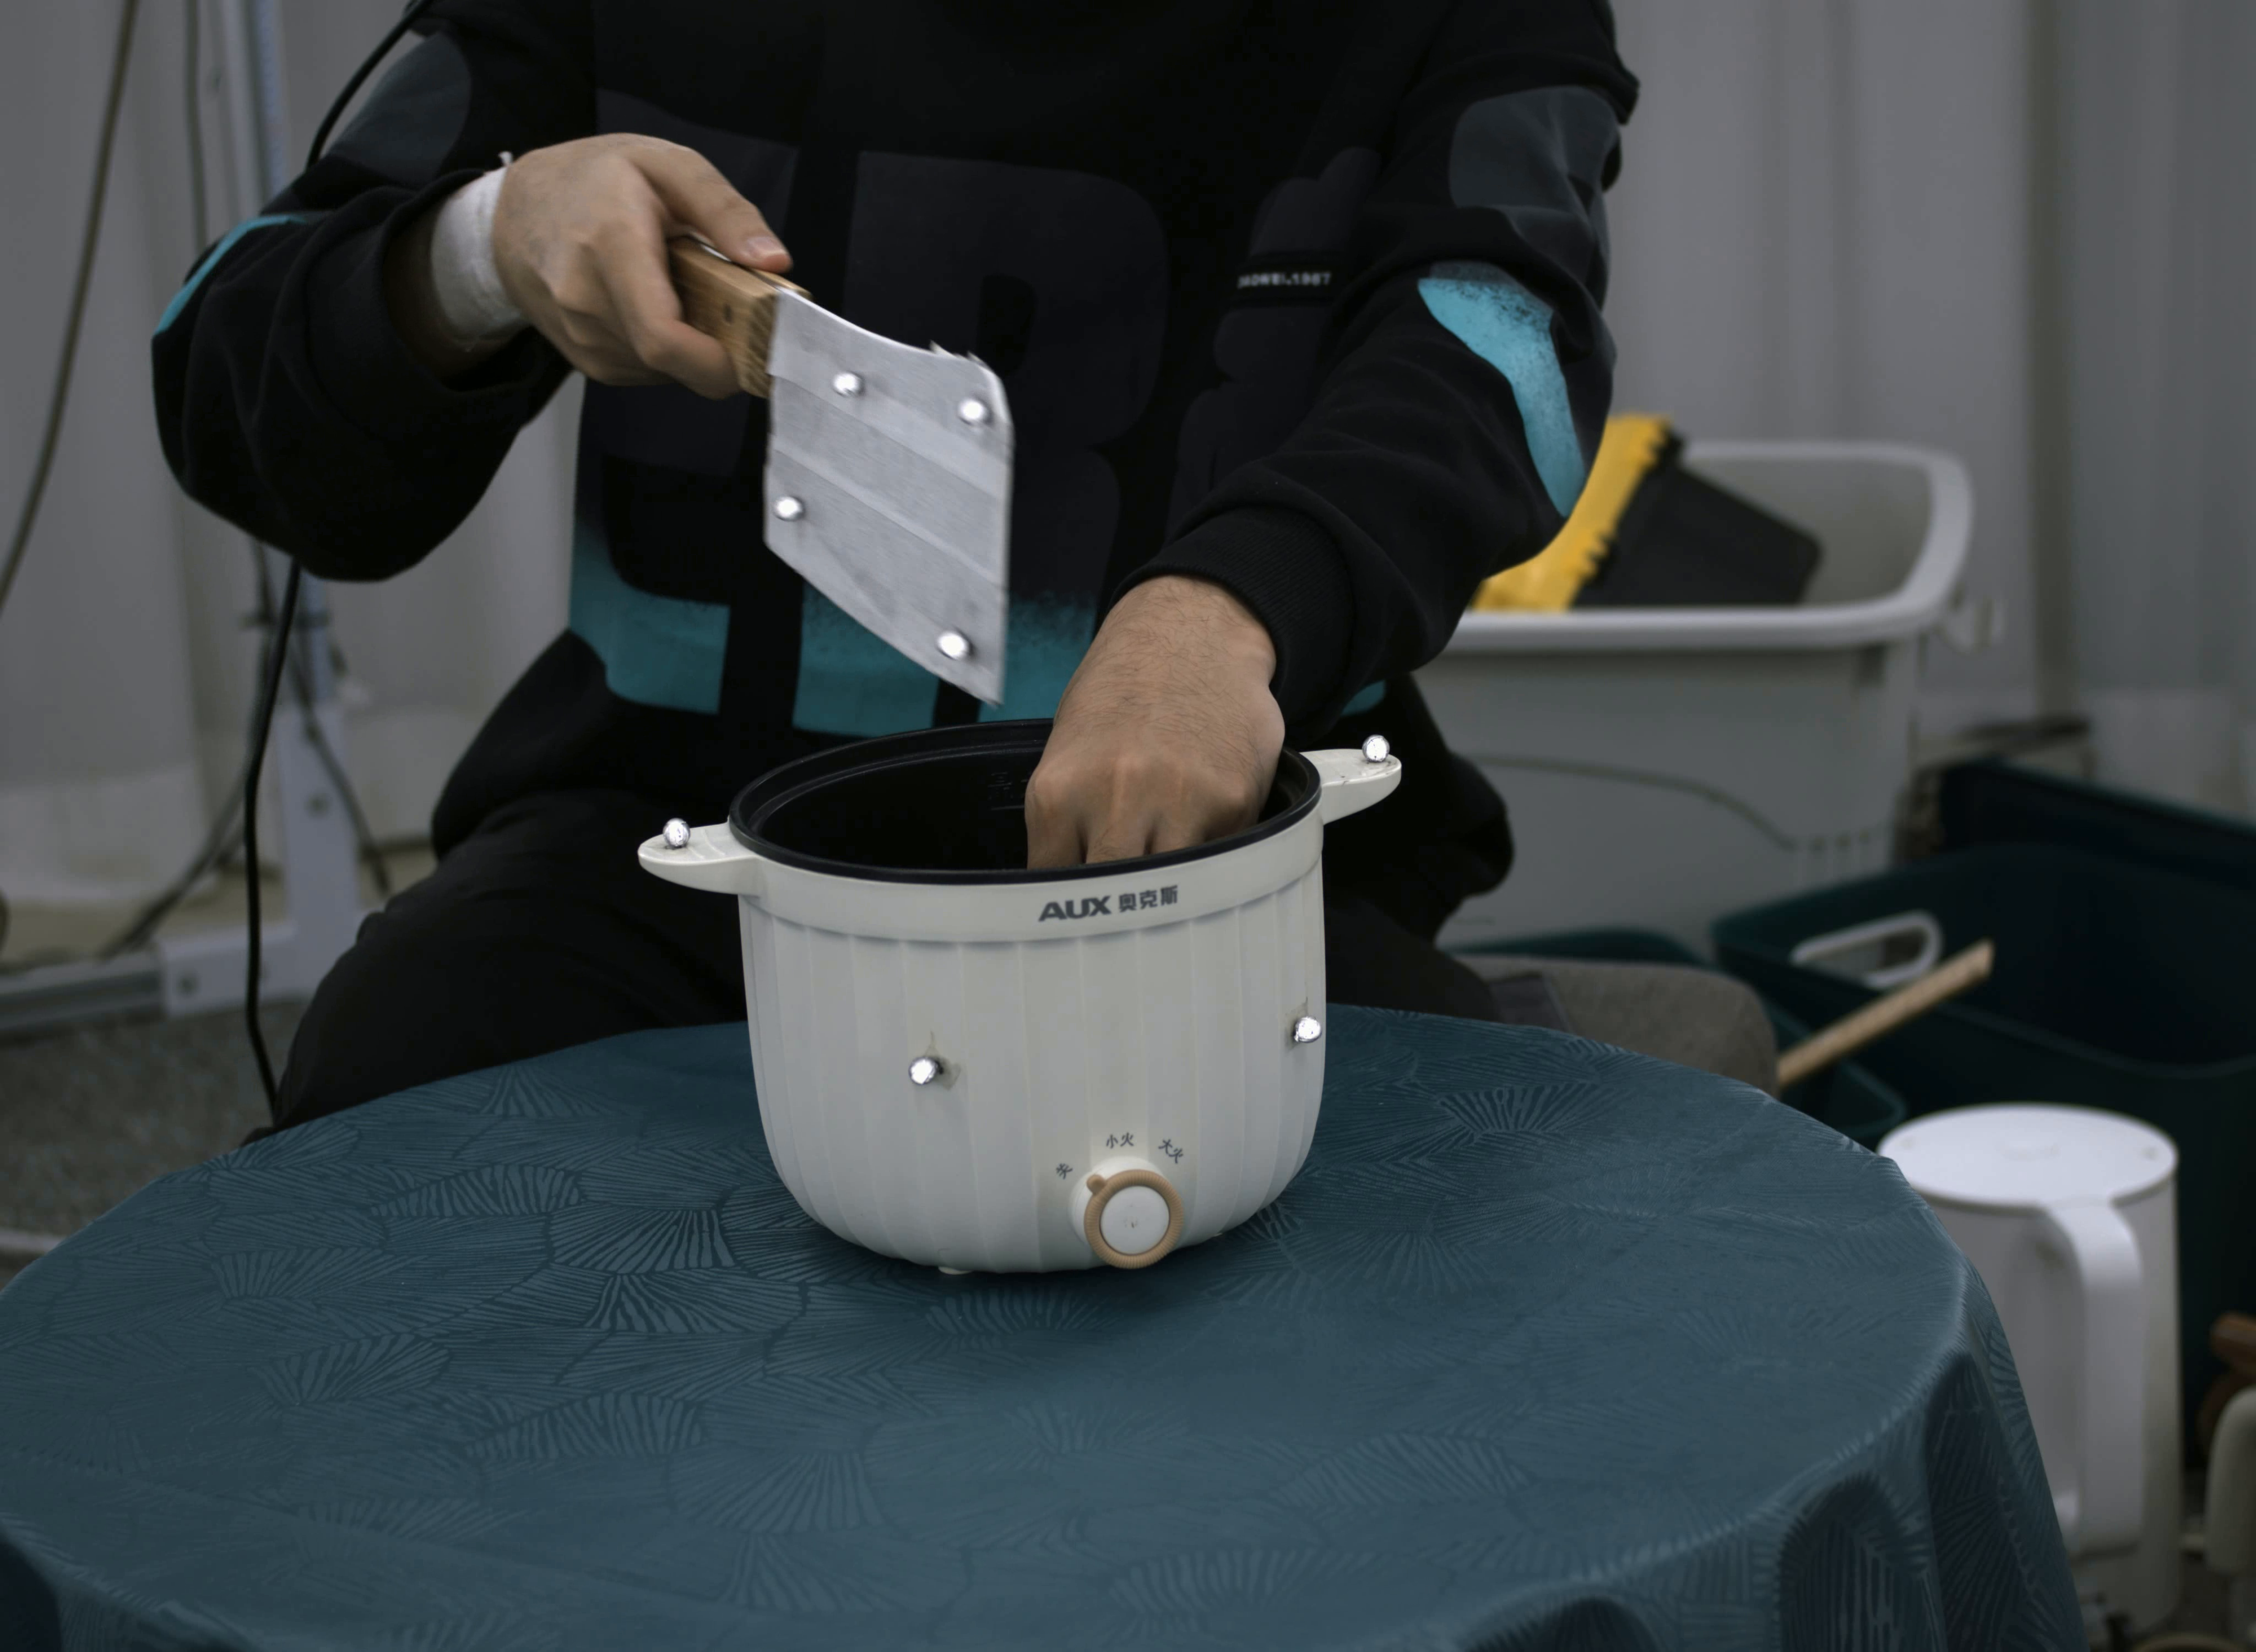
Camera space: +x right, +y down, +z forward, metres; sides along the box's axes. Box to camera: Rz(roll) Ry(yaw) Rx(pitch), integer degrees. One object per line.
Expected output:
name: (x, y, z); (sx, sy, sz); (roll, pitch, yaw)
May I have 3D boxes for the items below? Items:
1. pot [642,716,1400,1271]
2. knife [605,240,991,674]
pot: (-0.025, 0.054, 1.679); (0.239, 0.142, 0.192); (-8, 12, -15)
knife: (-0.103, -0.133, 1.726); (0.021, 0.113, 0.319); (-3, 21, -25)
